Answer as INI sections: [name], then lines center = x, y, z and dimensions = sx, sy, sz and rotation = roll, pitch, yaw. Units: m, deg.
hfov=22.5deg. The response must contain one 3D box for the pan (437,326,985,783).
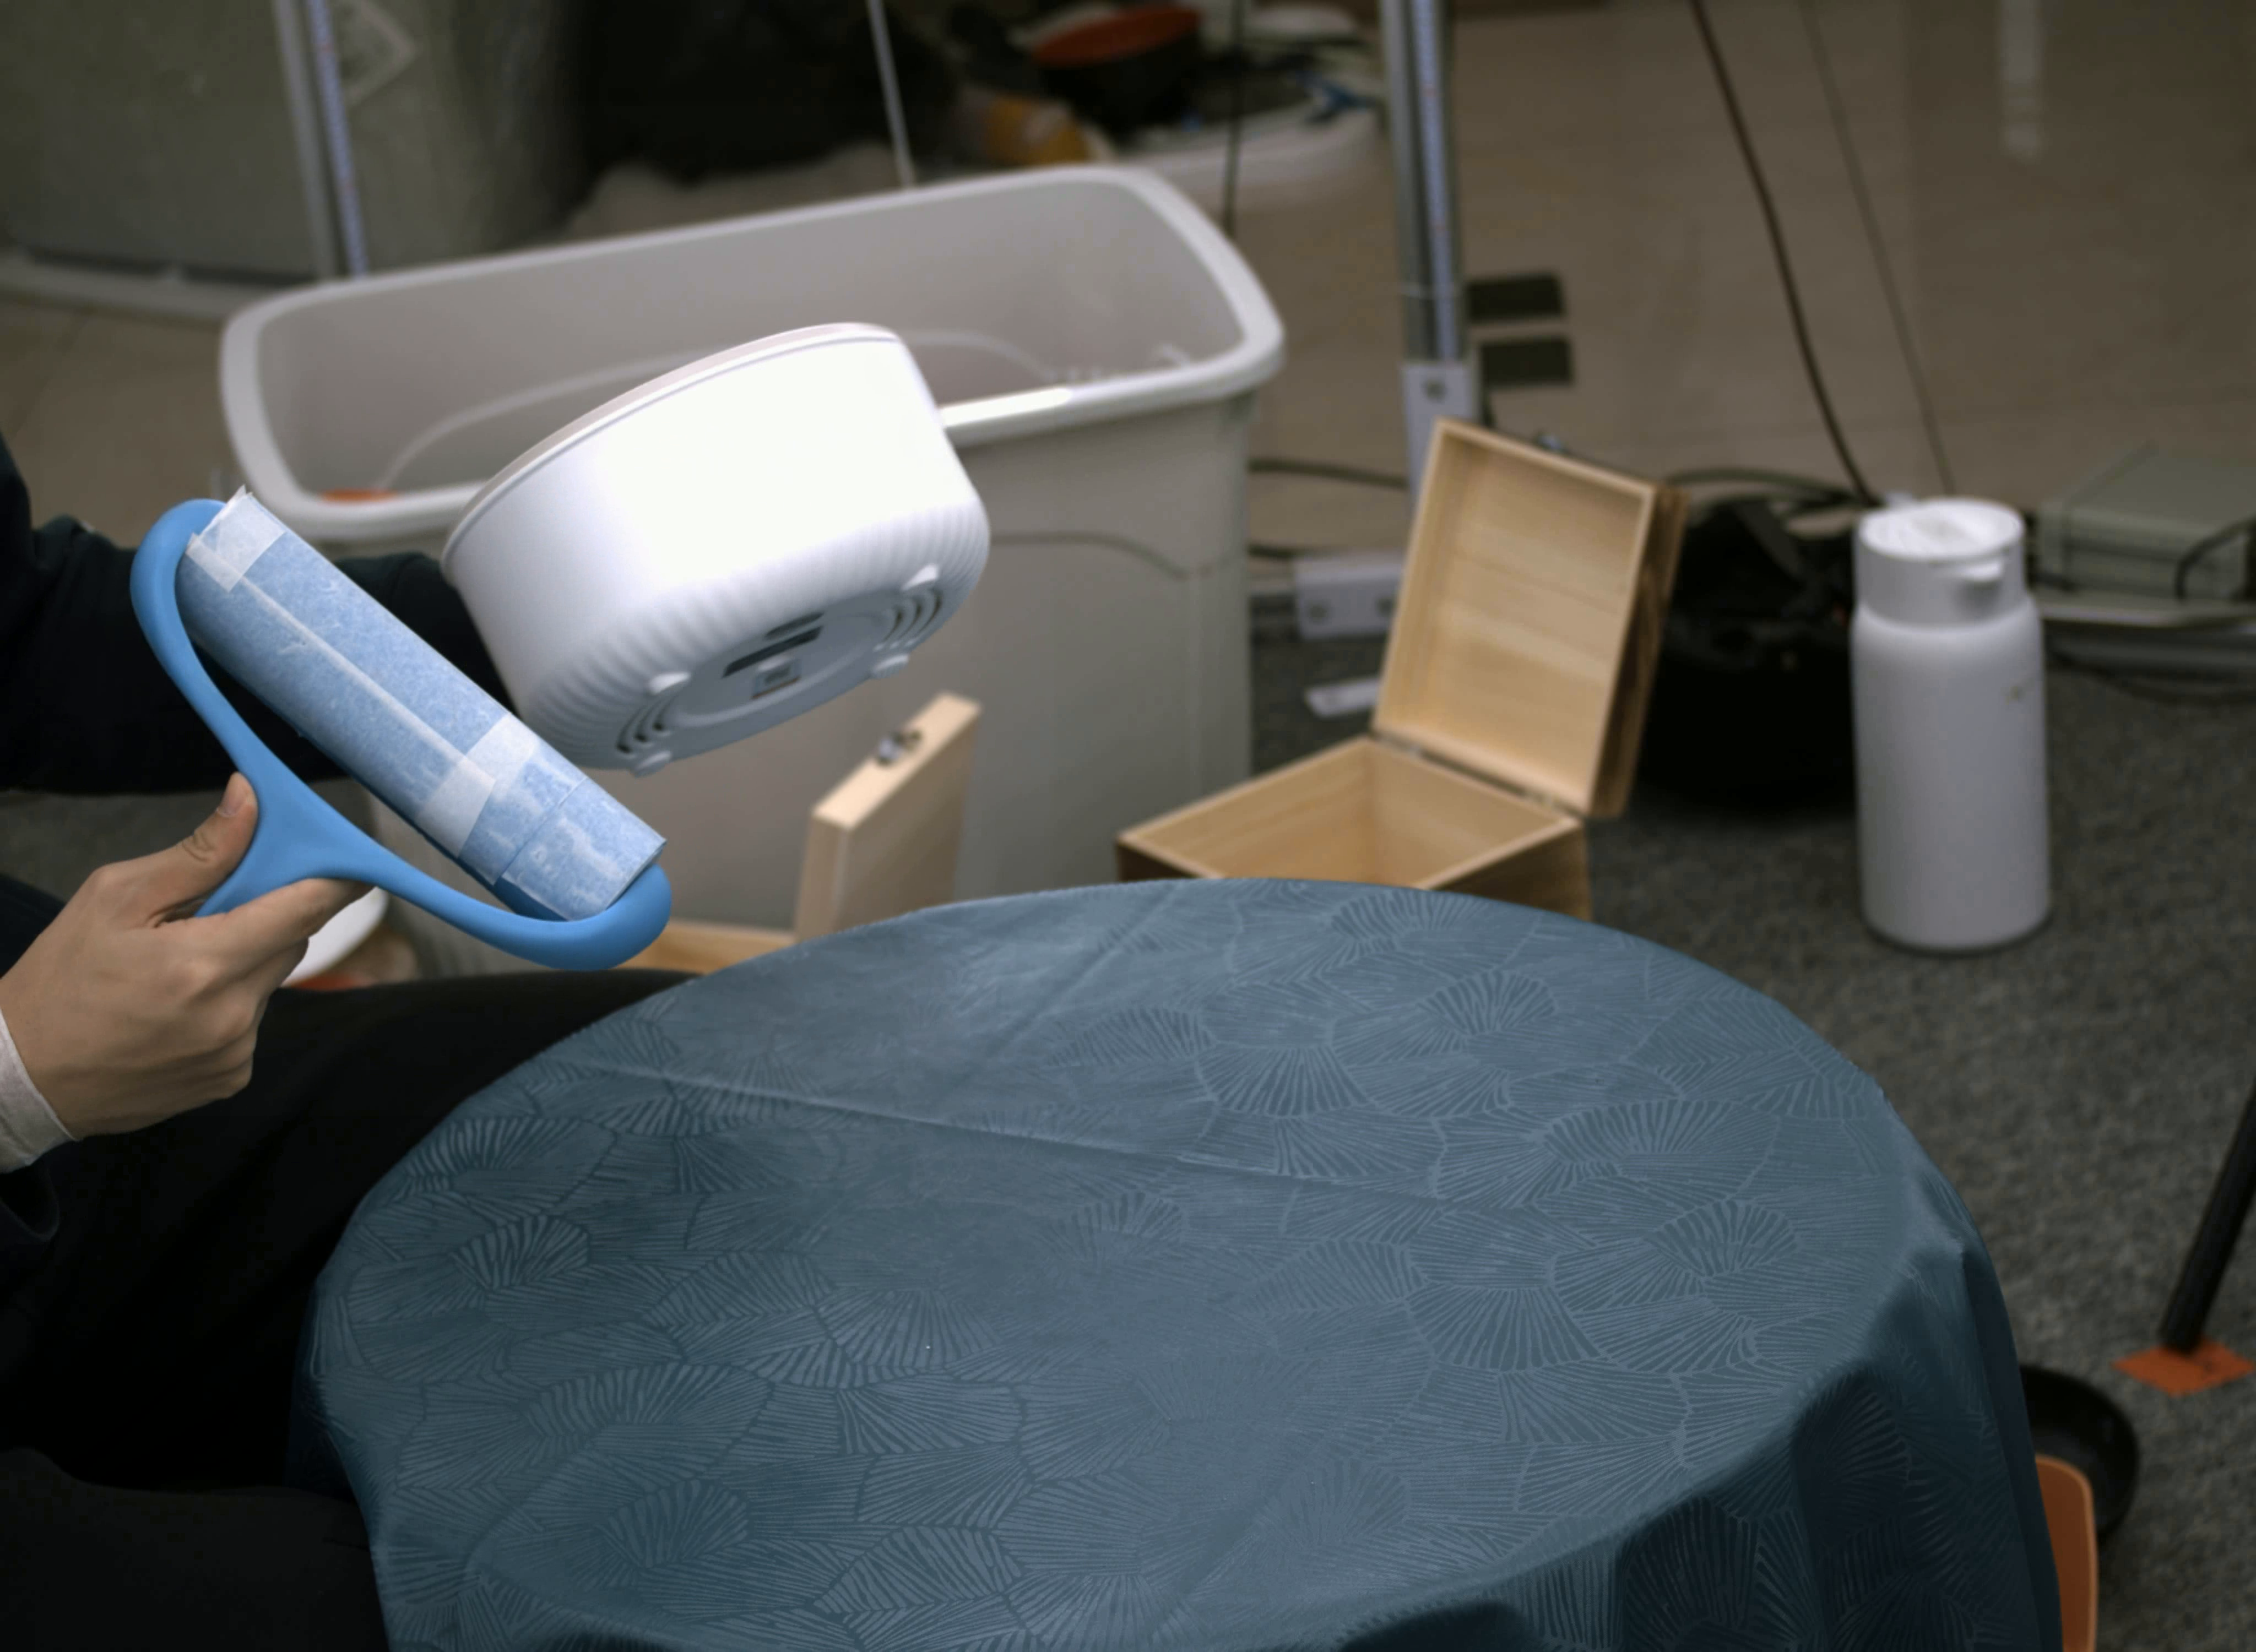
[pan]
center = -0.163, -0.076, 2.227
dimensions = 0.200, 0.101, 0.358
rotation = -24, -12, -14

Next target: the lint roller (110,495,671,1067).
[lint roller]
center = -0.289, 0.009, 1.976
dimensions = 0.179, 0.229, 0.068
rotation = -53, 4, -16
